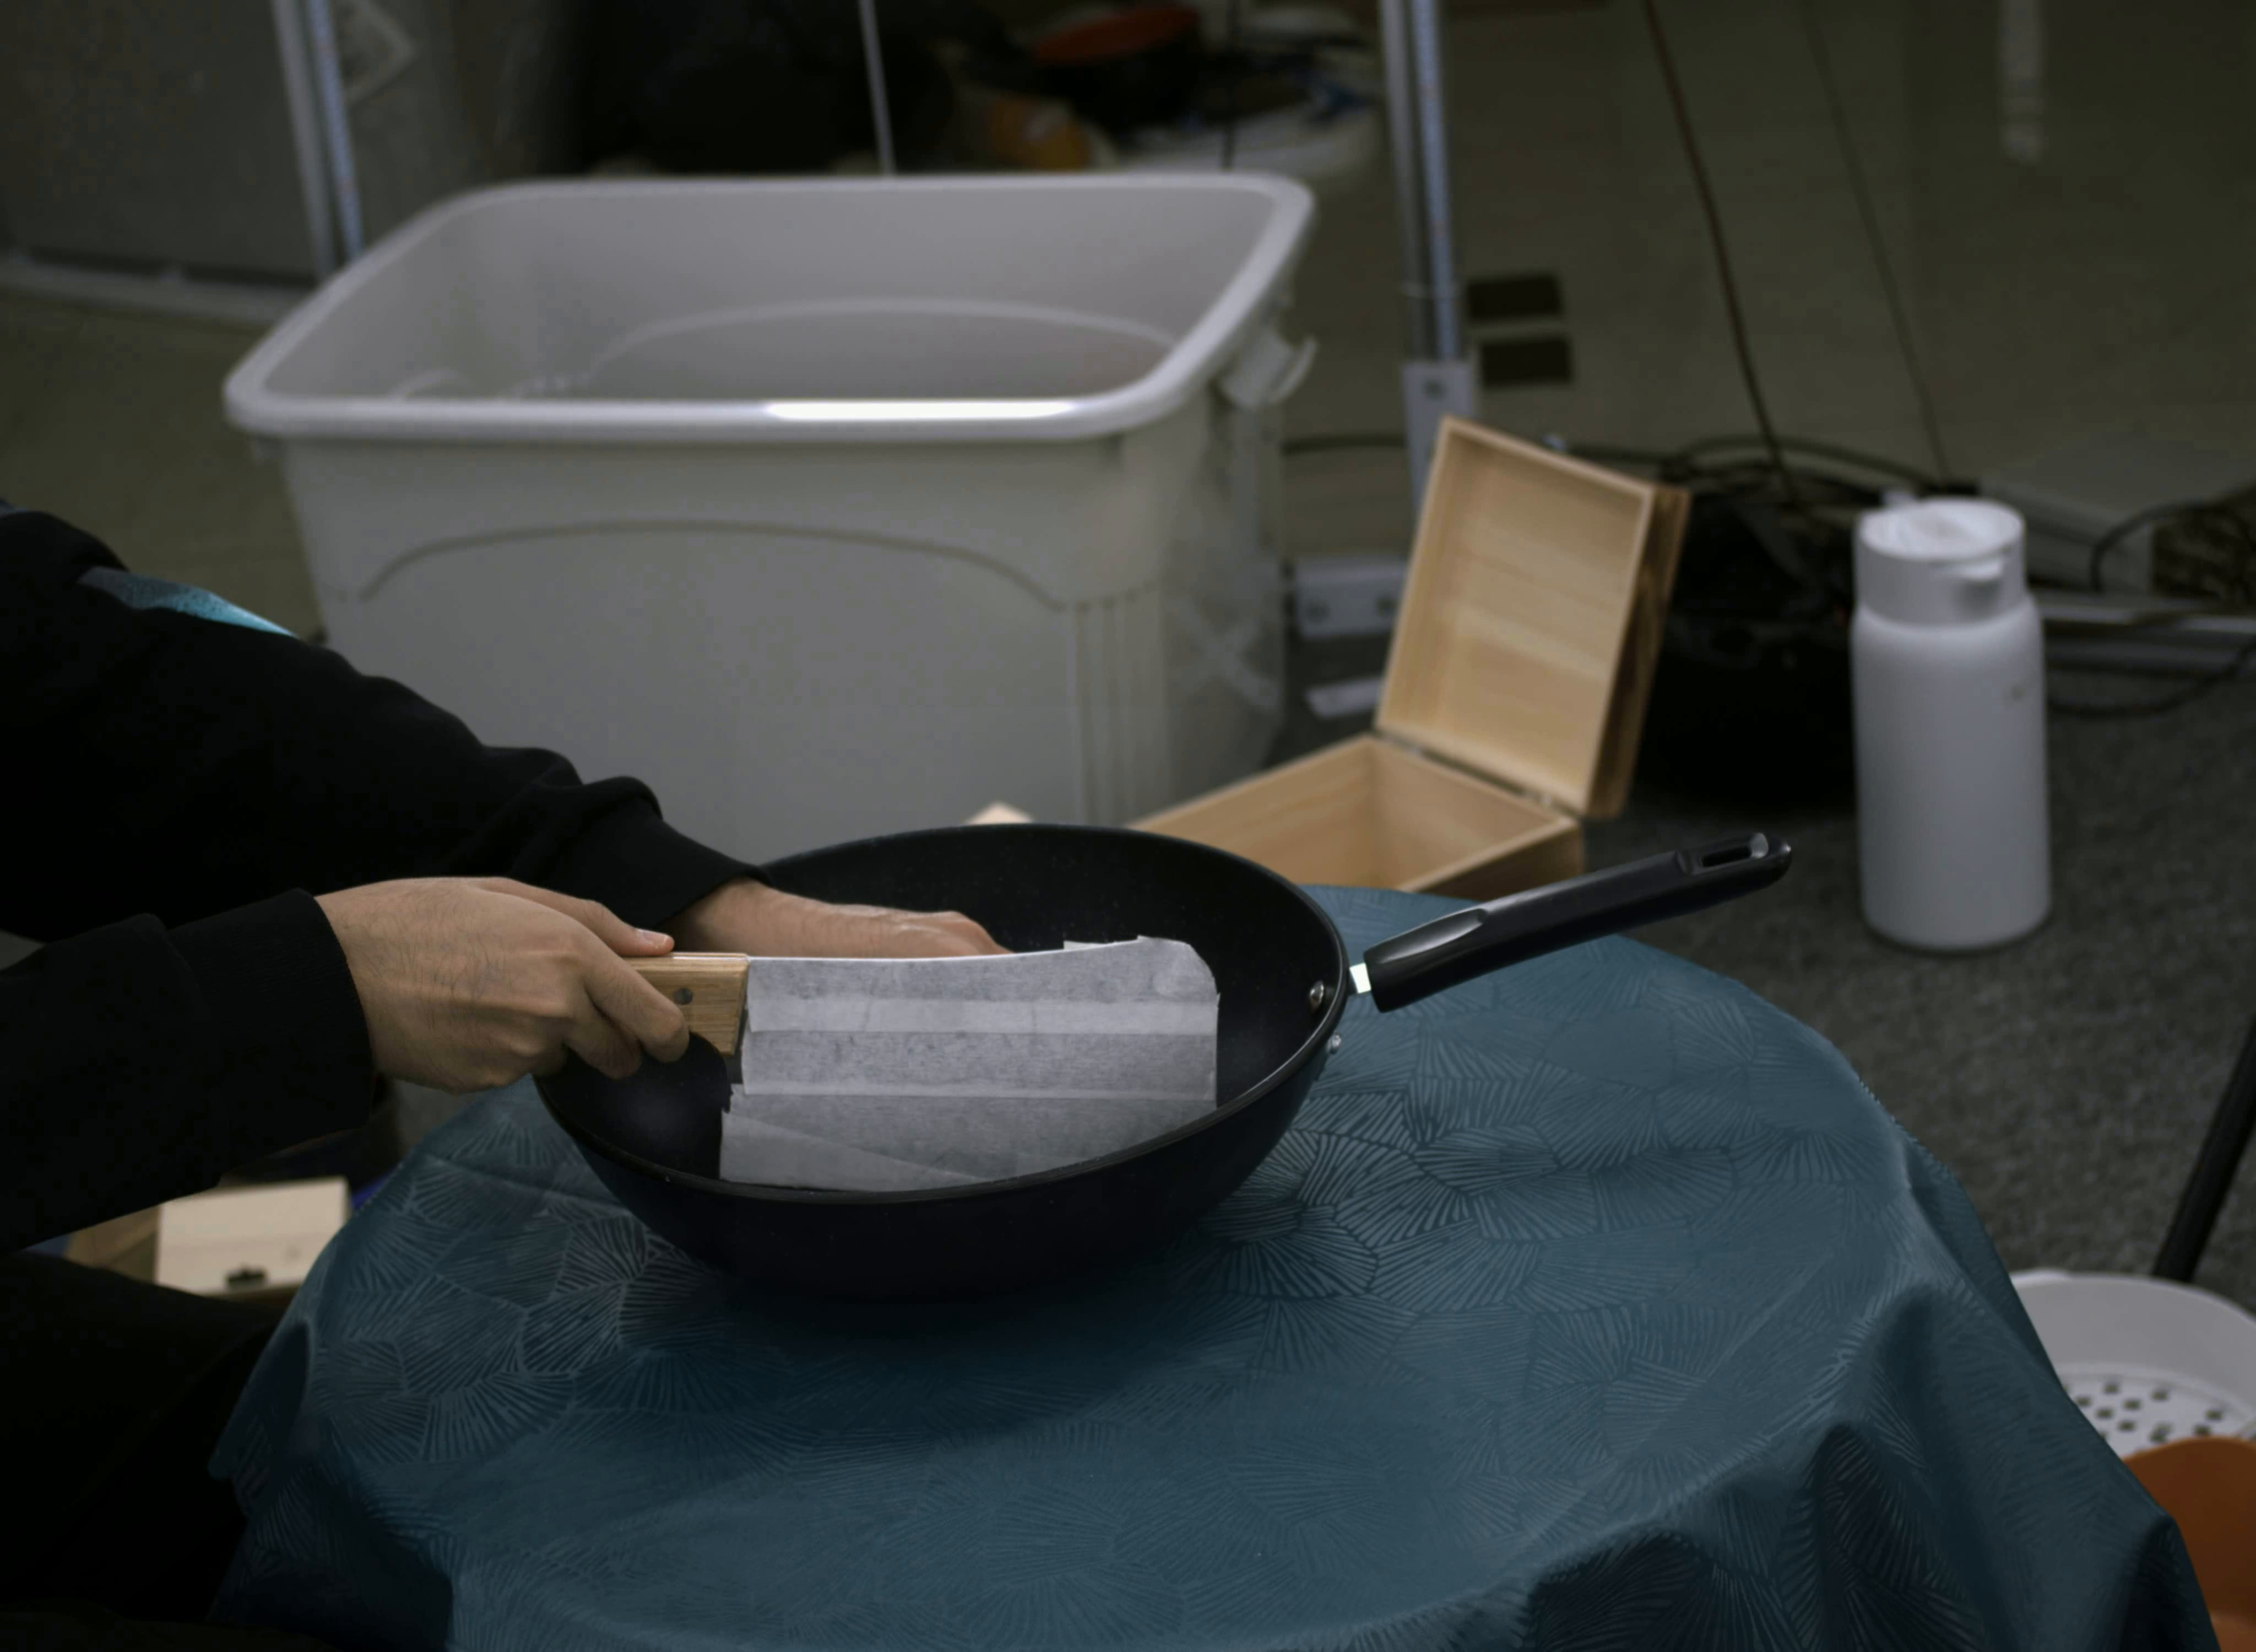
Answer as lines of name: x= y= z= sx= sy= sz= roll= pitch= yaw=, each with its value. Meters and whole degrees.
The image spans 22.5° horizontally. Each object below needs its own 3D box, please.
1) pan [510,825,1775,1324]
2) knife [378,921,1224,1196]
pan: x=0.008 y=0.086 z=2.132 sx=0.476 sy=0.113 sz=0.305 roll=-6 pitch=27 yaw=1
knife: x=-0.116 y=0.081 z=2.069 sx=0.315 sy=0.115 sz=0.021 roll=5 pitch=13 yaw=-8
